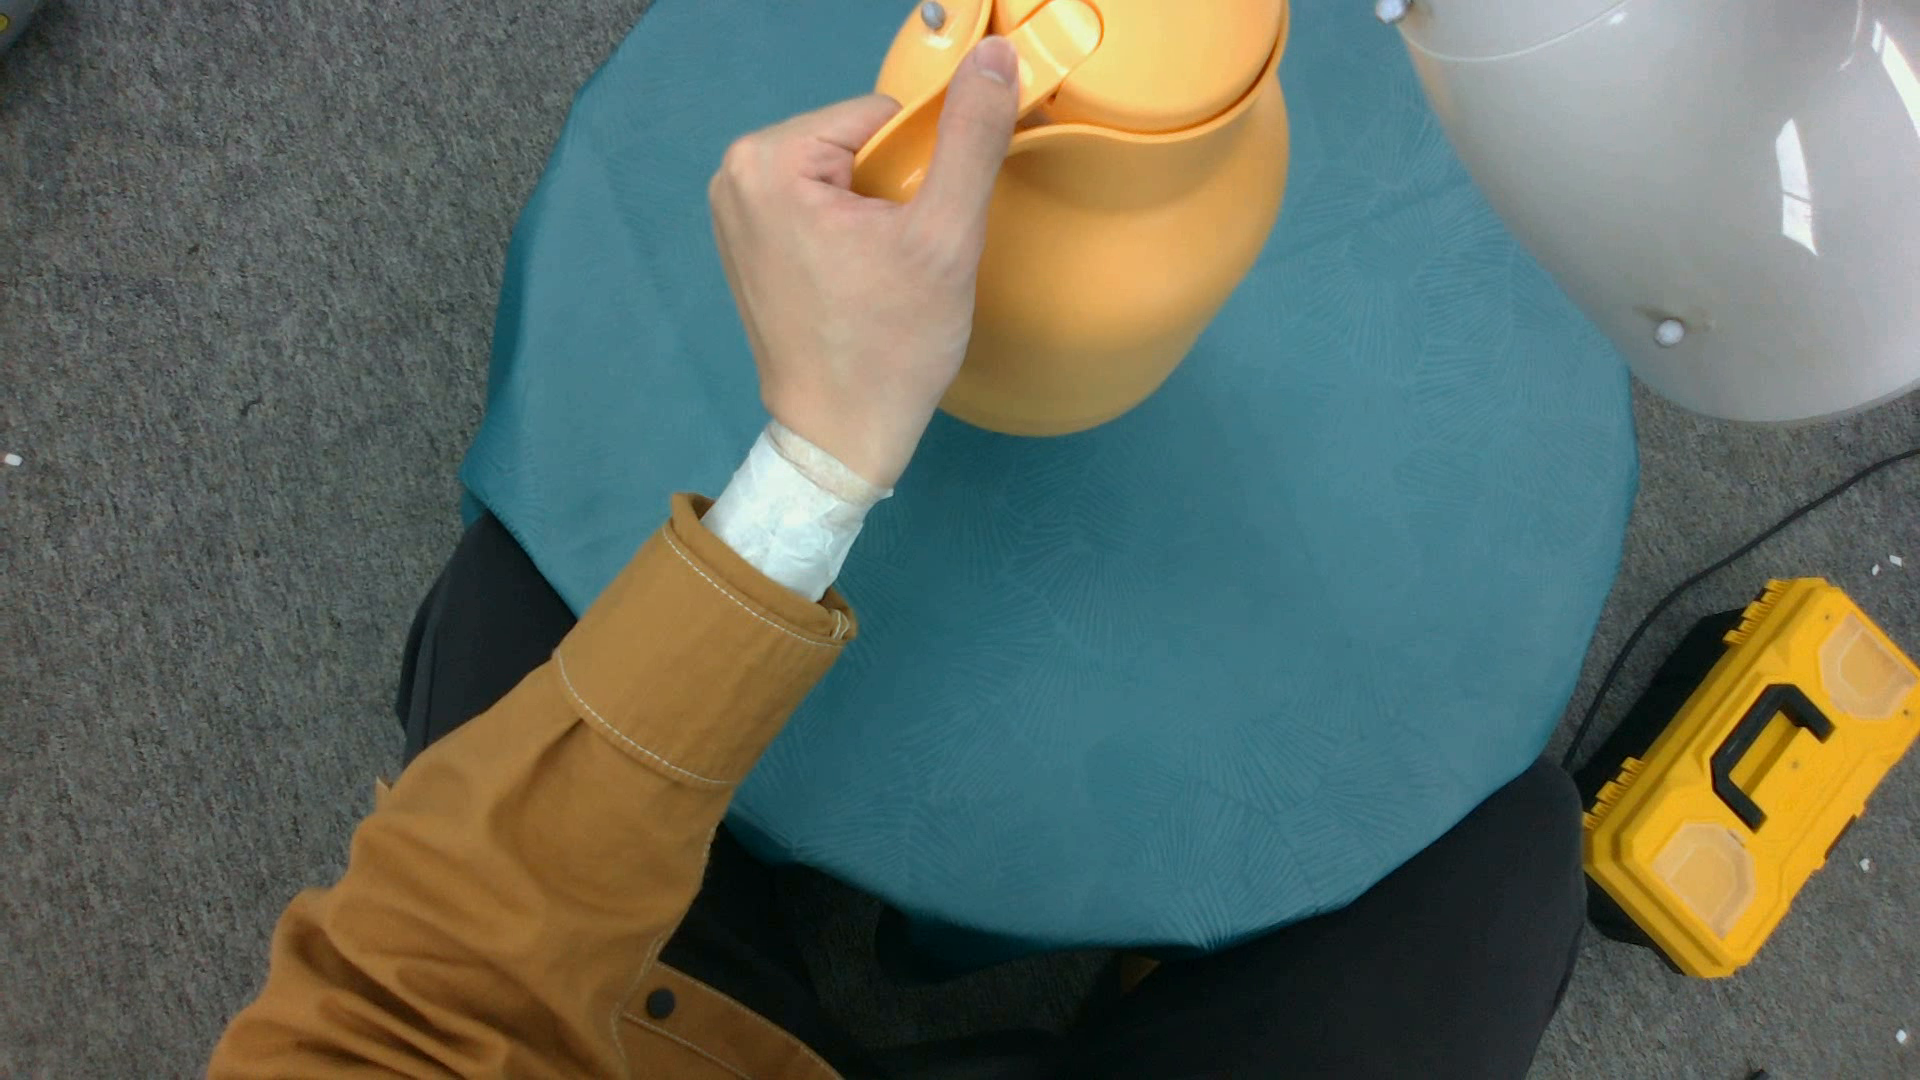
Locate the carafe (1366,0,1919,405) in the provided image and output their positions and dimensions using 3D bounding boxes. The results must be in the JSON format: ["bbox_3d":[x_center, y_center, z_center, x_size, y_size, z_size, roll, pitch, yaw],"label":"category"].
[{"bbox_3d":[0.204,-0.150,0.378,0.248,0.167,0.133,27,72,-37],"label":"carafe"}]

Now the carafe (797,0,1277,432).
[{"bbox_3d":[0.022,-0.139,0.539,0.203,0.259,0.163,-36,83,-14],"label":"carafe"}]
